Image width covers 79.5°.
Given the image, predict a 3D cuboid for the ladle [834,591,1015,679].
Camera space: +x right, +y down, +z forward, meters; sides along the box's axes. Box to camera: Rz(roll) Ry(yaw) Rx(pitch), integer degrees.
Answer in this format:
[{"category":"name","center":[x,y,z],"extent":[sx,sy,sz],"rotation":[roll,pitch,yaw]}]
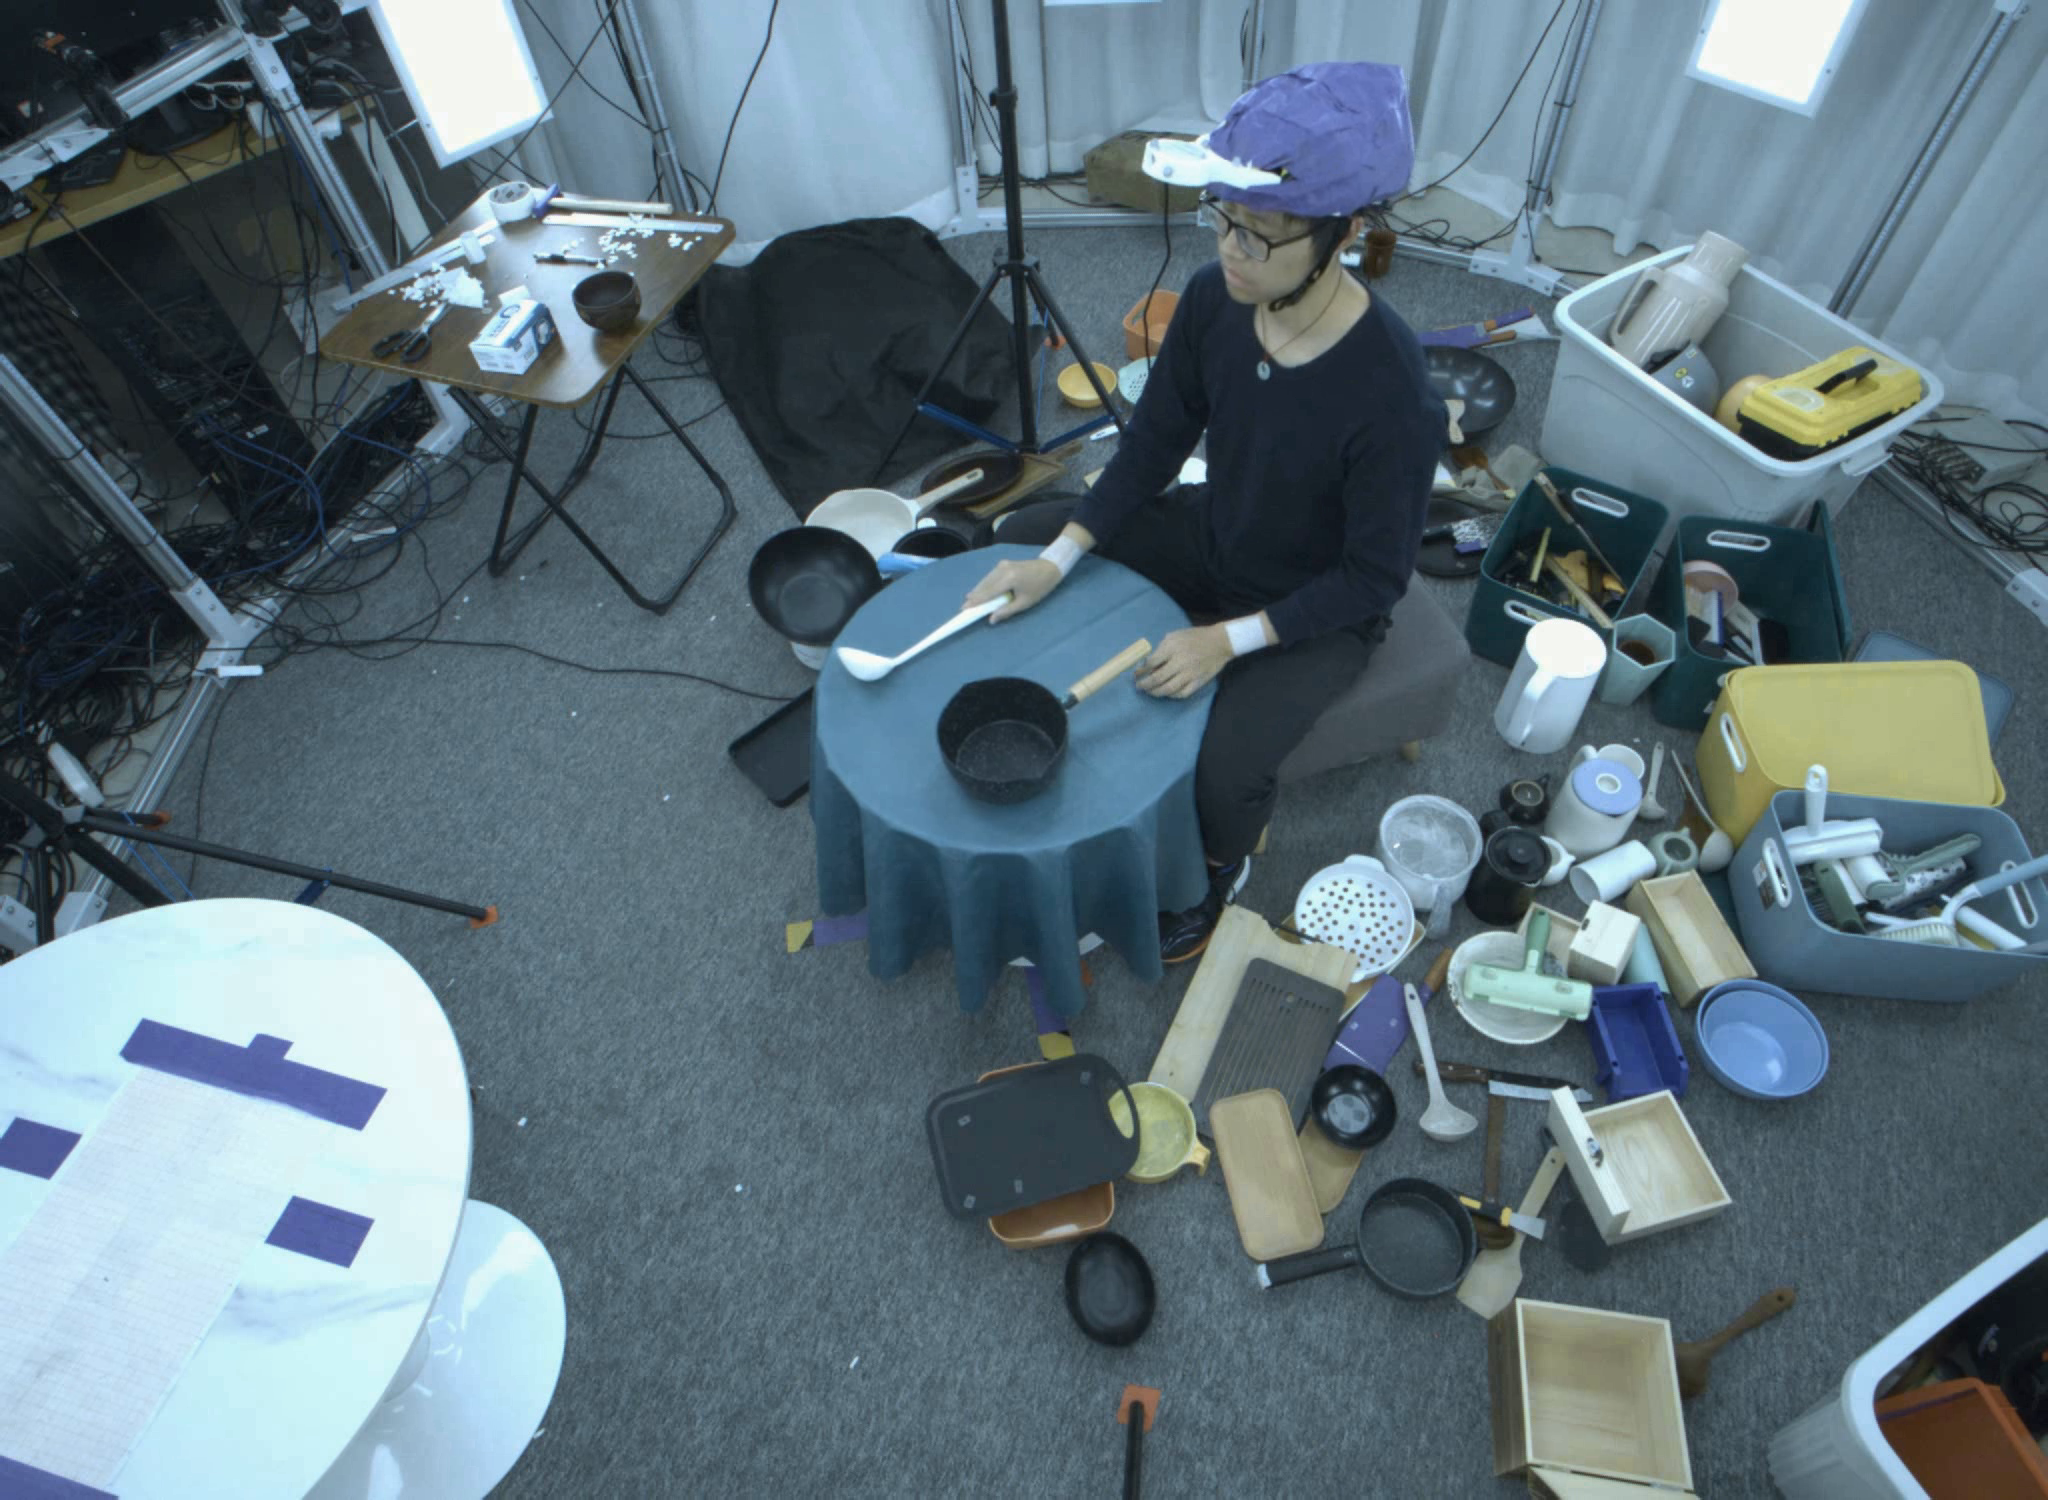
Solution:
[{"category":"ladle","center":[-0.151,-0.189,1.894],"extent":[0.295,0.071,0.088],"rotation":[-29,26,-18]}]

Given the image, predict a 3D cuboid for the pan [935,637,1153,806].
[{"category":"pan","center":[0.038,-0.051,1.755],"extent":[0.345,0.109,0.203],"rotation":[-30,58,-16]}]
